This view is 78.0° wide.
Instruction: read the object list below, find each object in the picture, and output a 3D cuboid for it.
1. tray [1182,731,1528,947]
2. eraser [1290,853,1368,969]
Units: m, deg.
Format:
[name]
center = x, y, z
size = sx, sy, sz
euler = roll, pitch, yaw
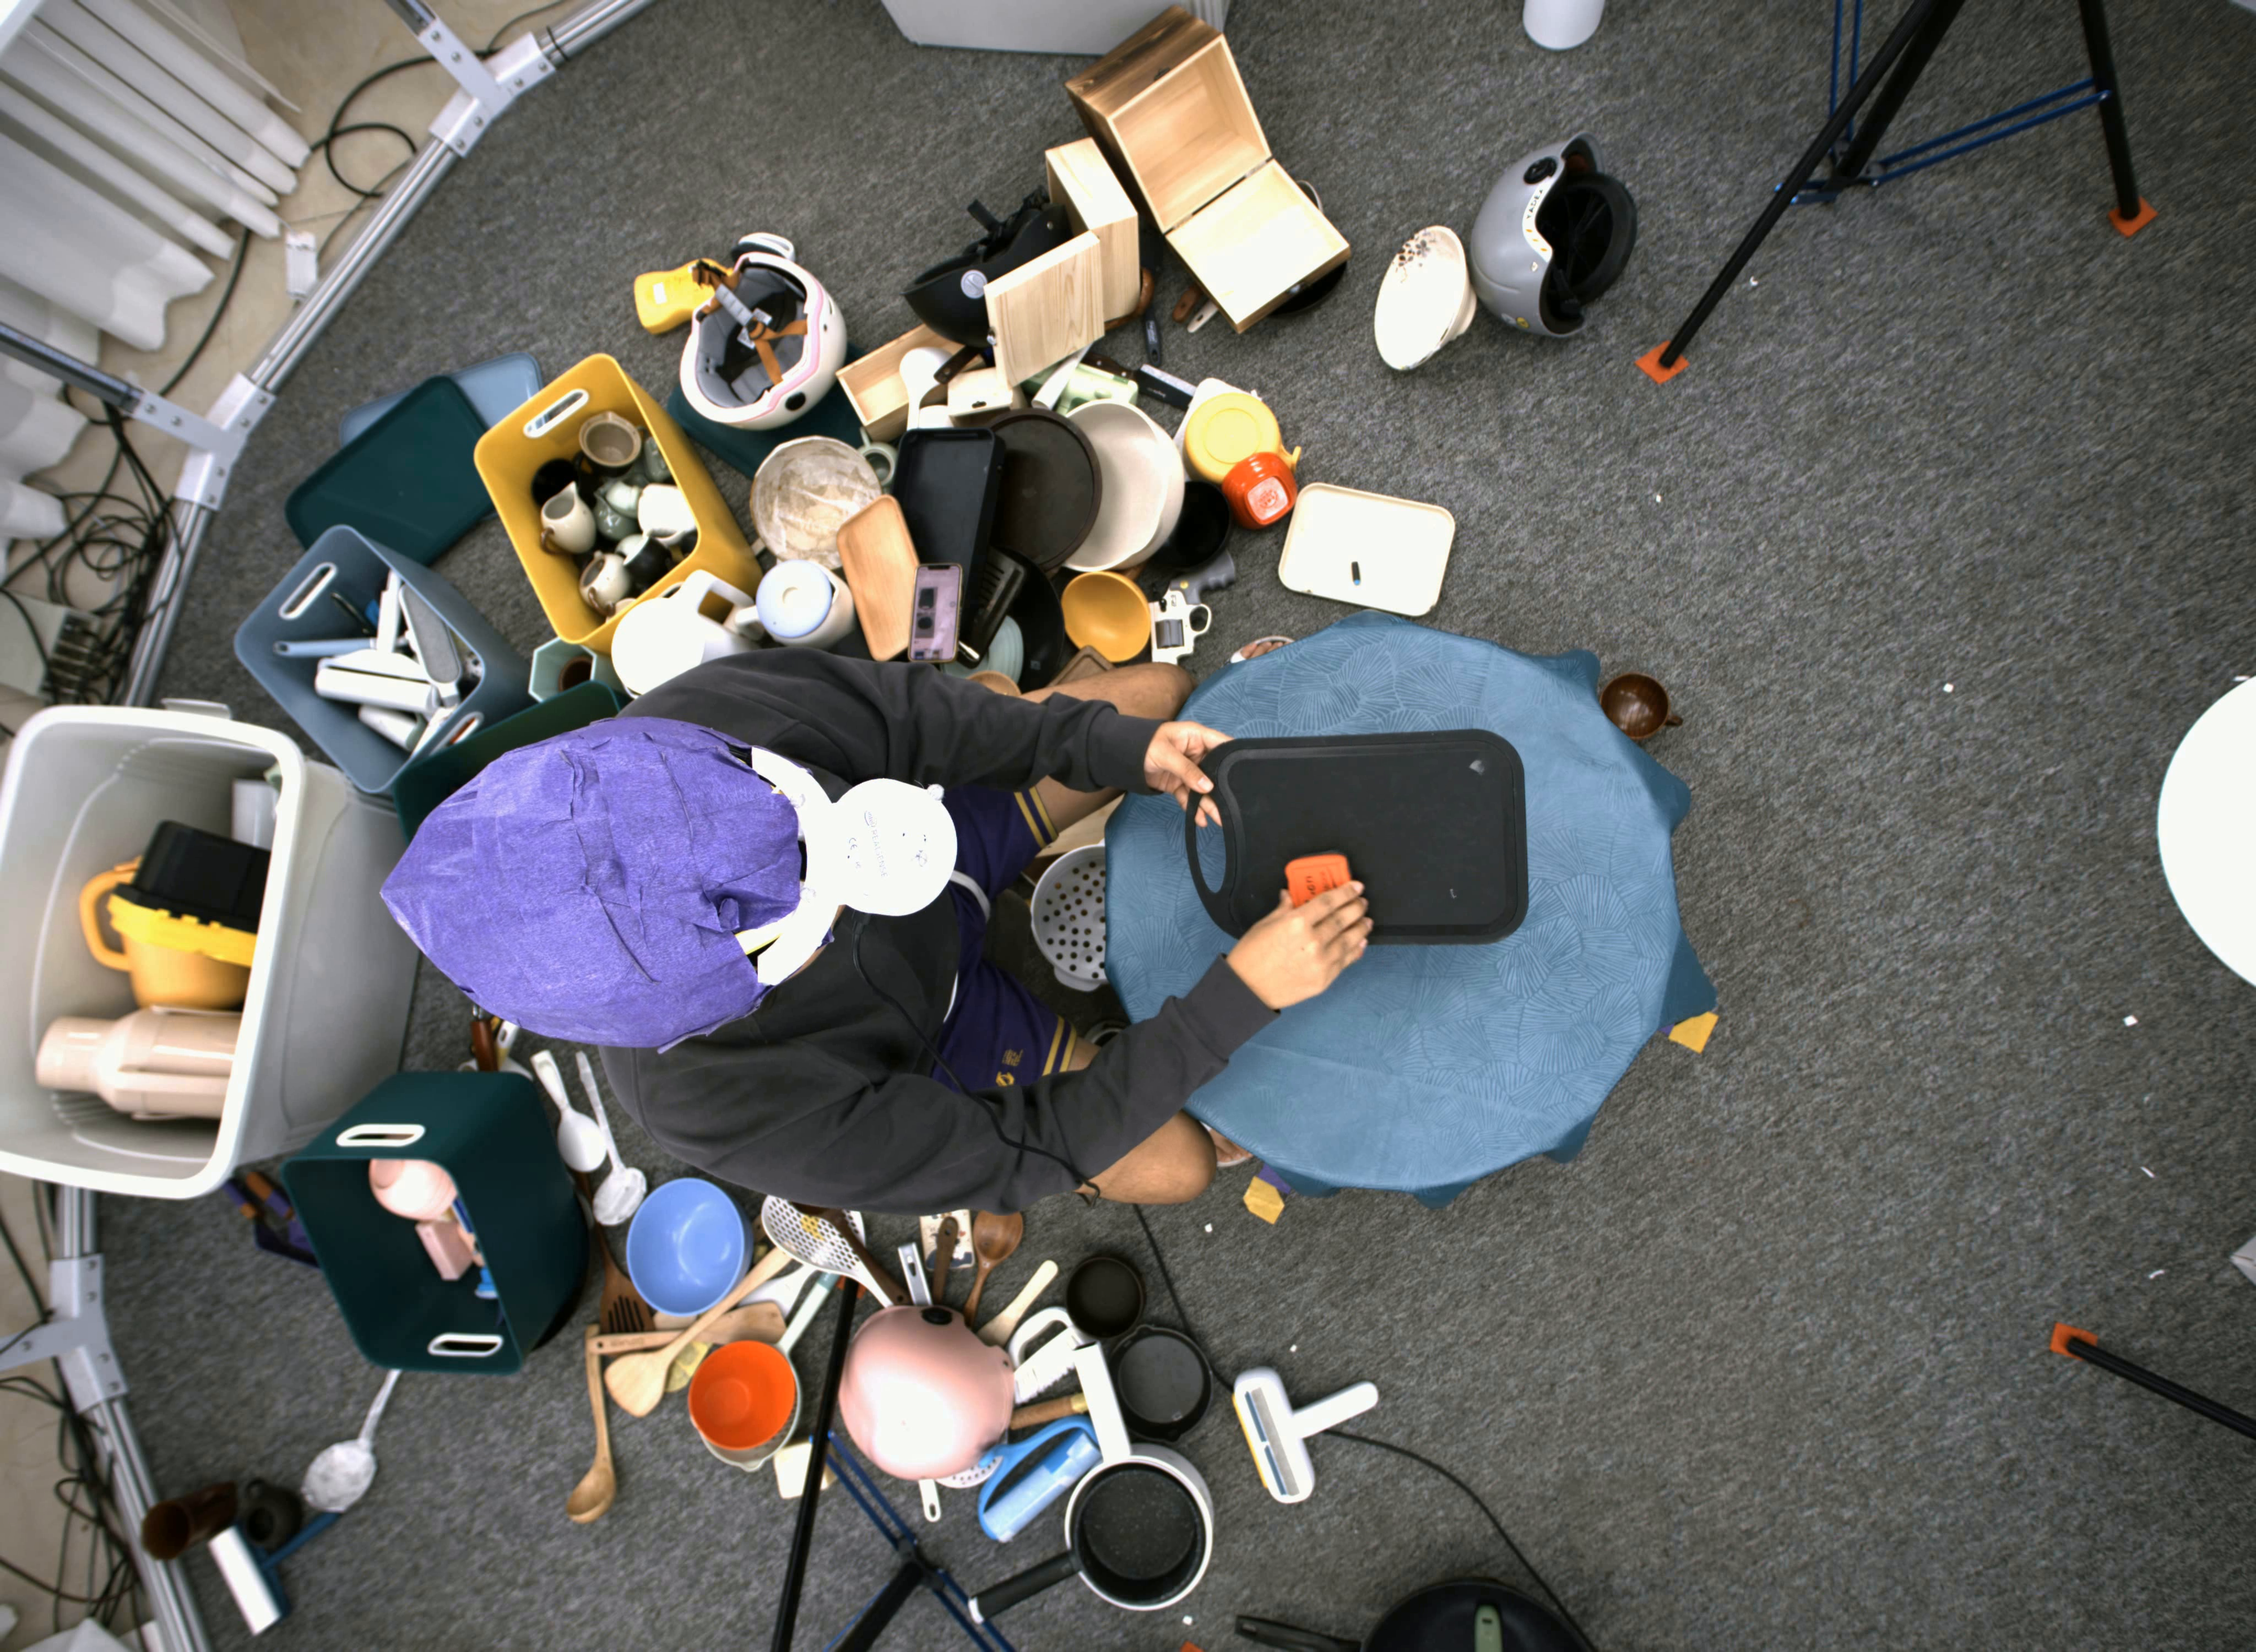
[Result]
[tray]
center = 0.209, 0.015, 1.303
size = 0.327, 0.009, 0.214
euler = -1, 110, 18
[eraser]
center = 0.192, 0.080, 1.318
size = 0.059, 0.022, 0.109
euler = -8, 105, 20
